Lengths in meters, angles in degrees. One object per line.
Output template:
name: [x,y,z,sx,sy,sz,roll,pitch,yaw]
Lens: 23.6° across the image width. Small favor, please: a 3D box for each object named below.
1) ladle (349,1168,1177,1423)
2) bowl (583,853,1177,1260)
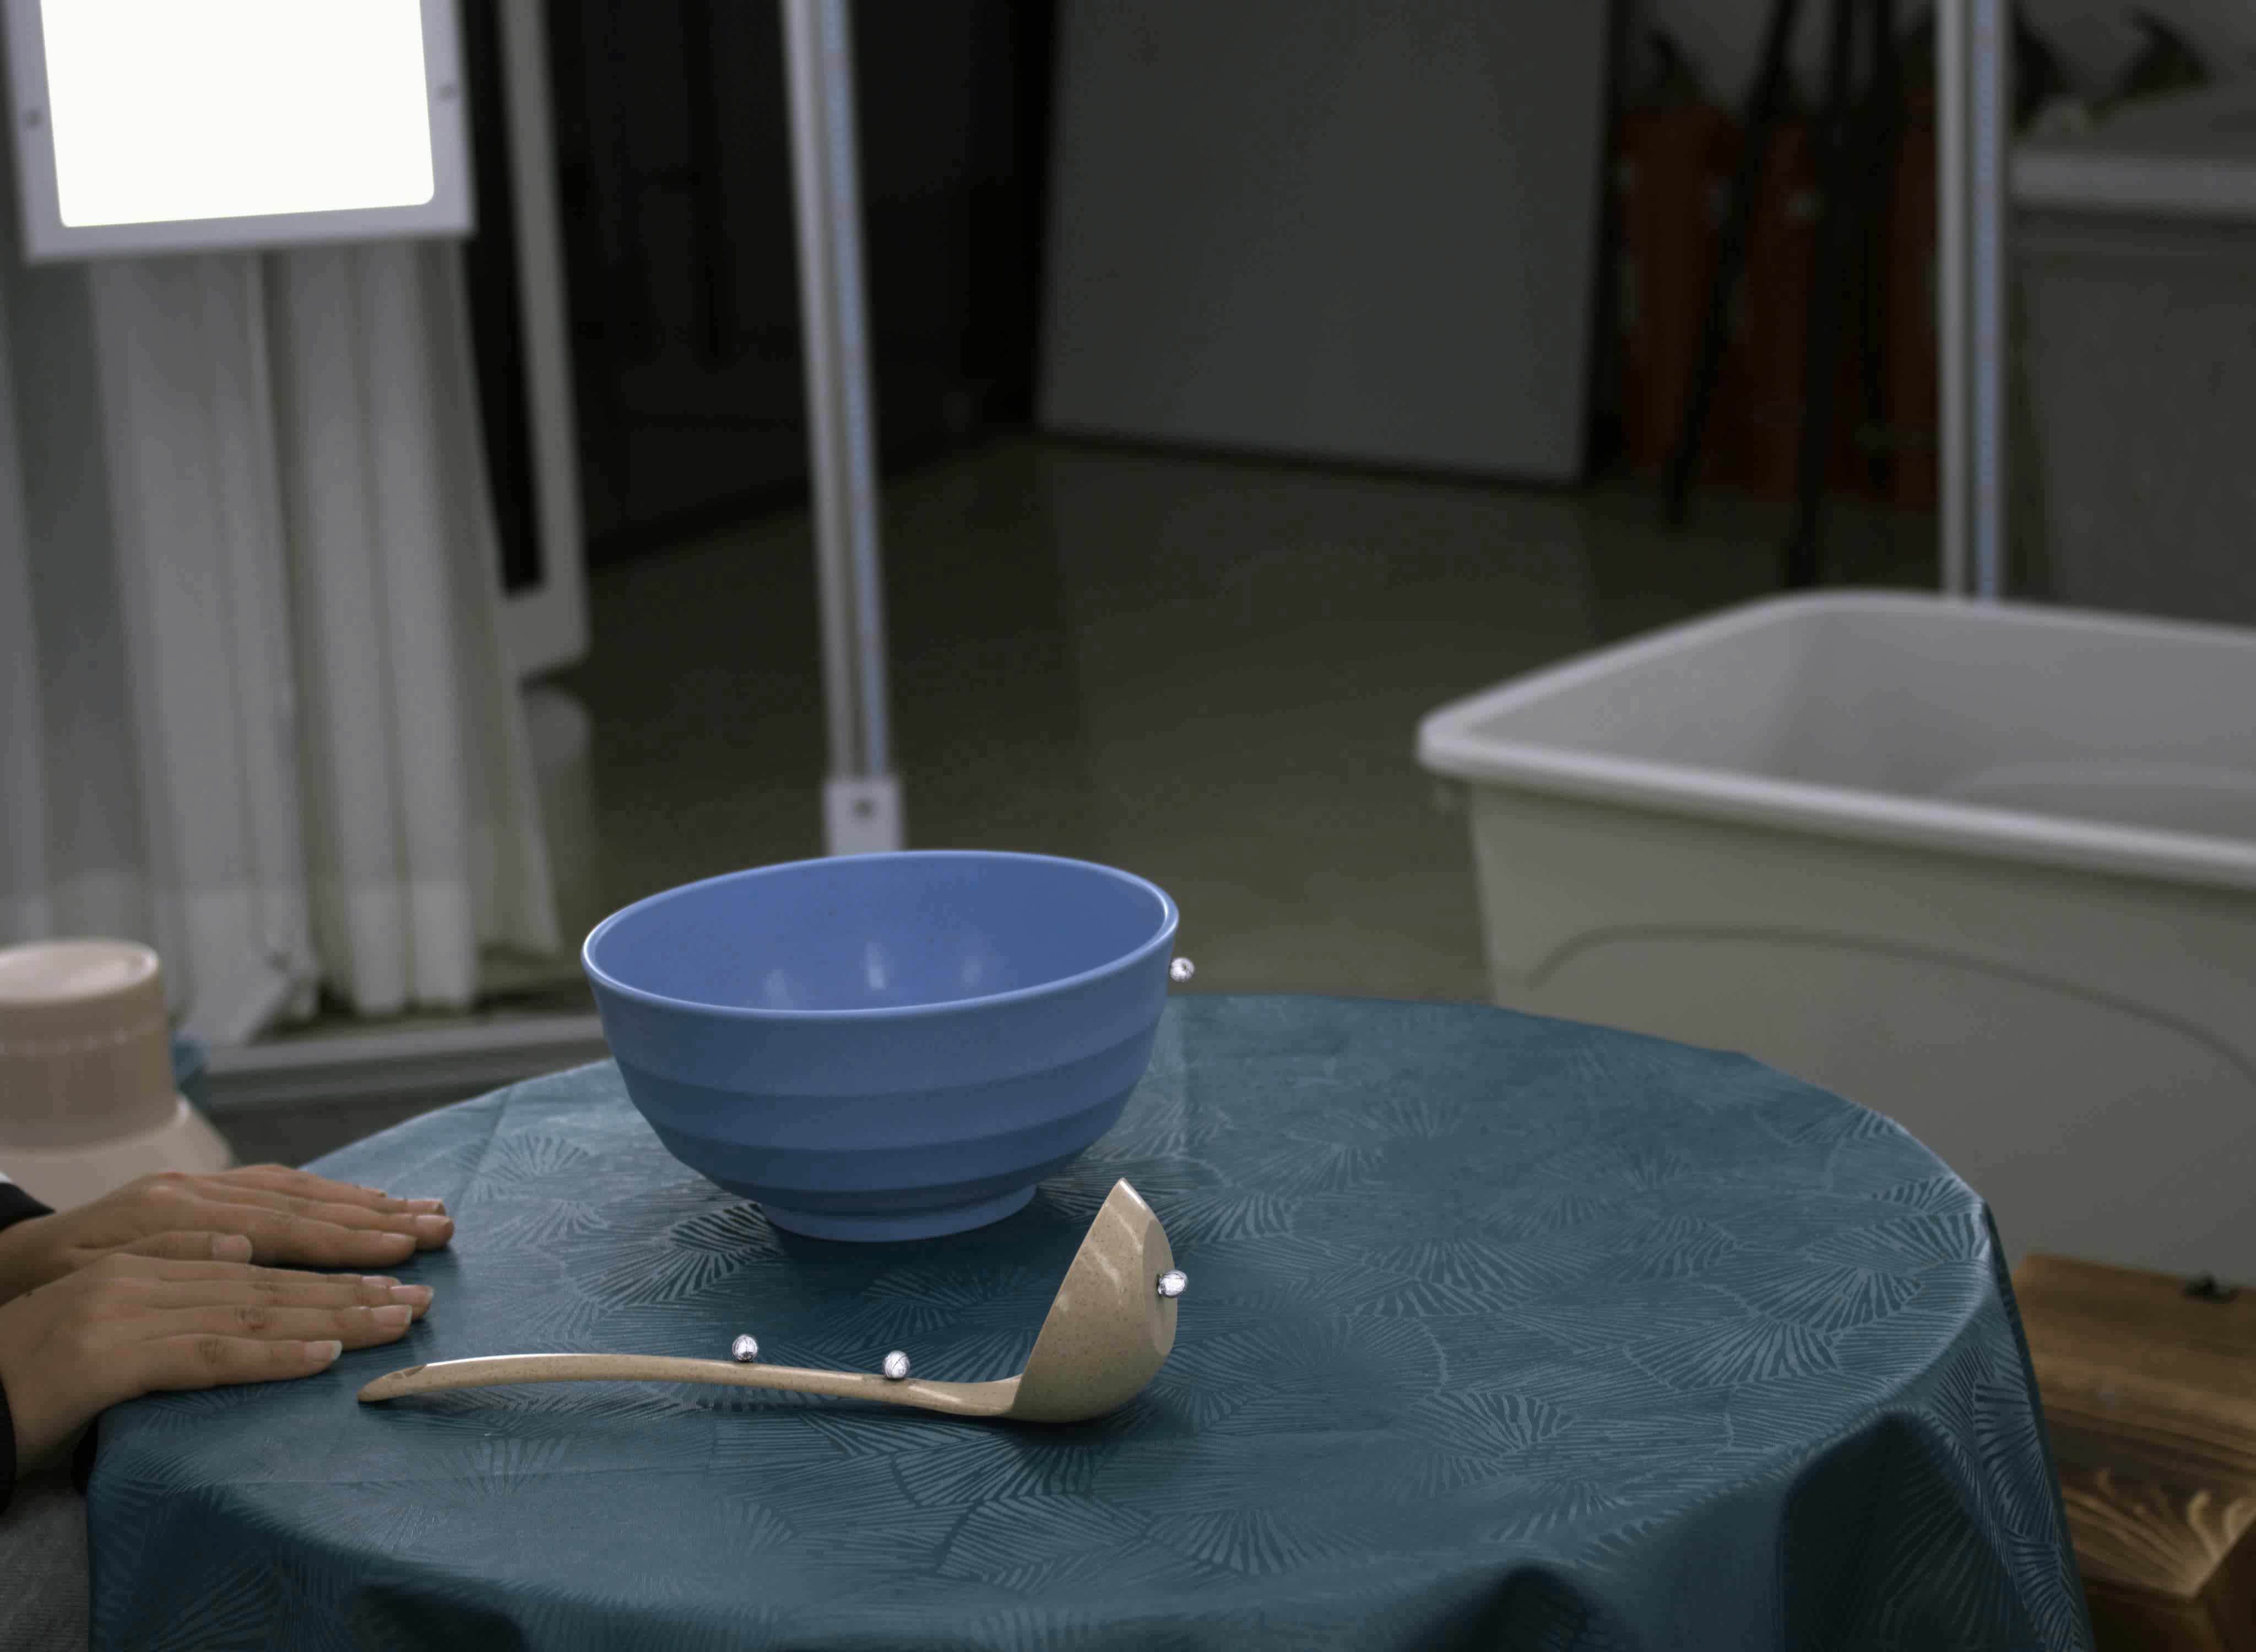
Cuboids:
ladle: [-0.111,0.138,1.582,0.253,0.073,0.072,-1,13,13]
bowl: [-0.077,0.082,1.769,0.194,0.096,0.197,-5,15,0]
